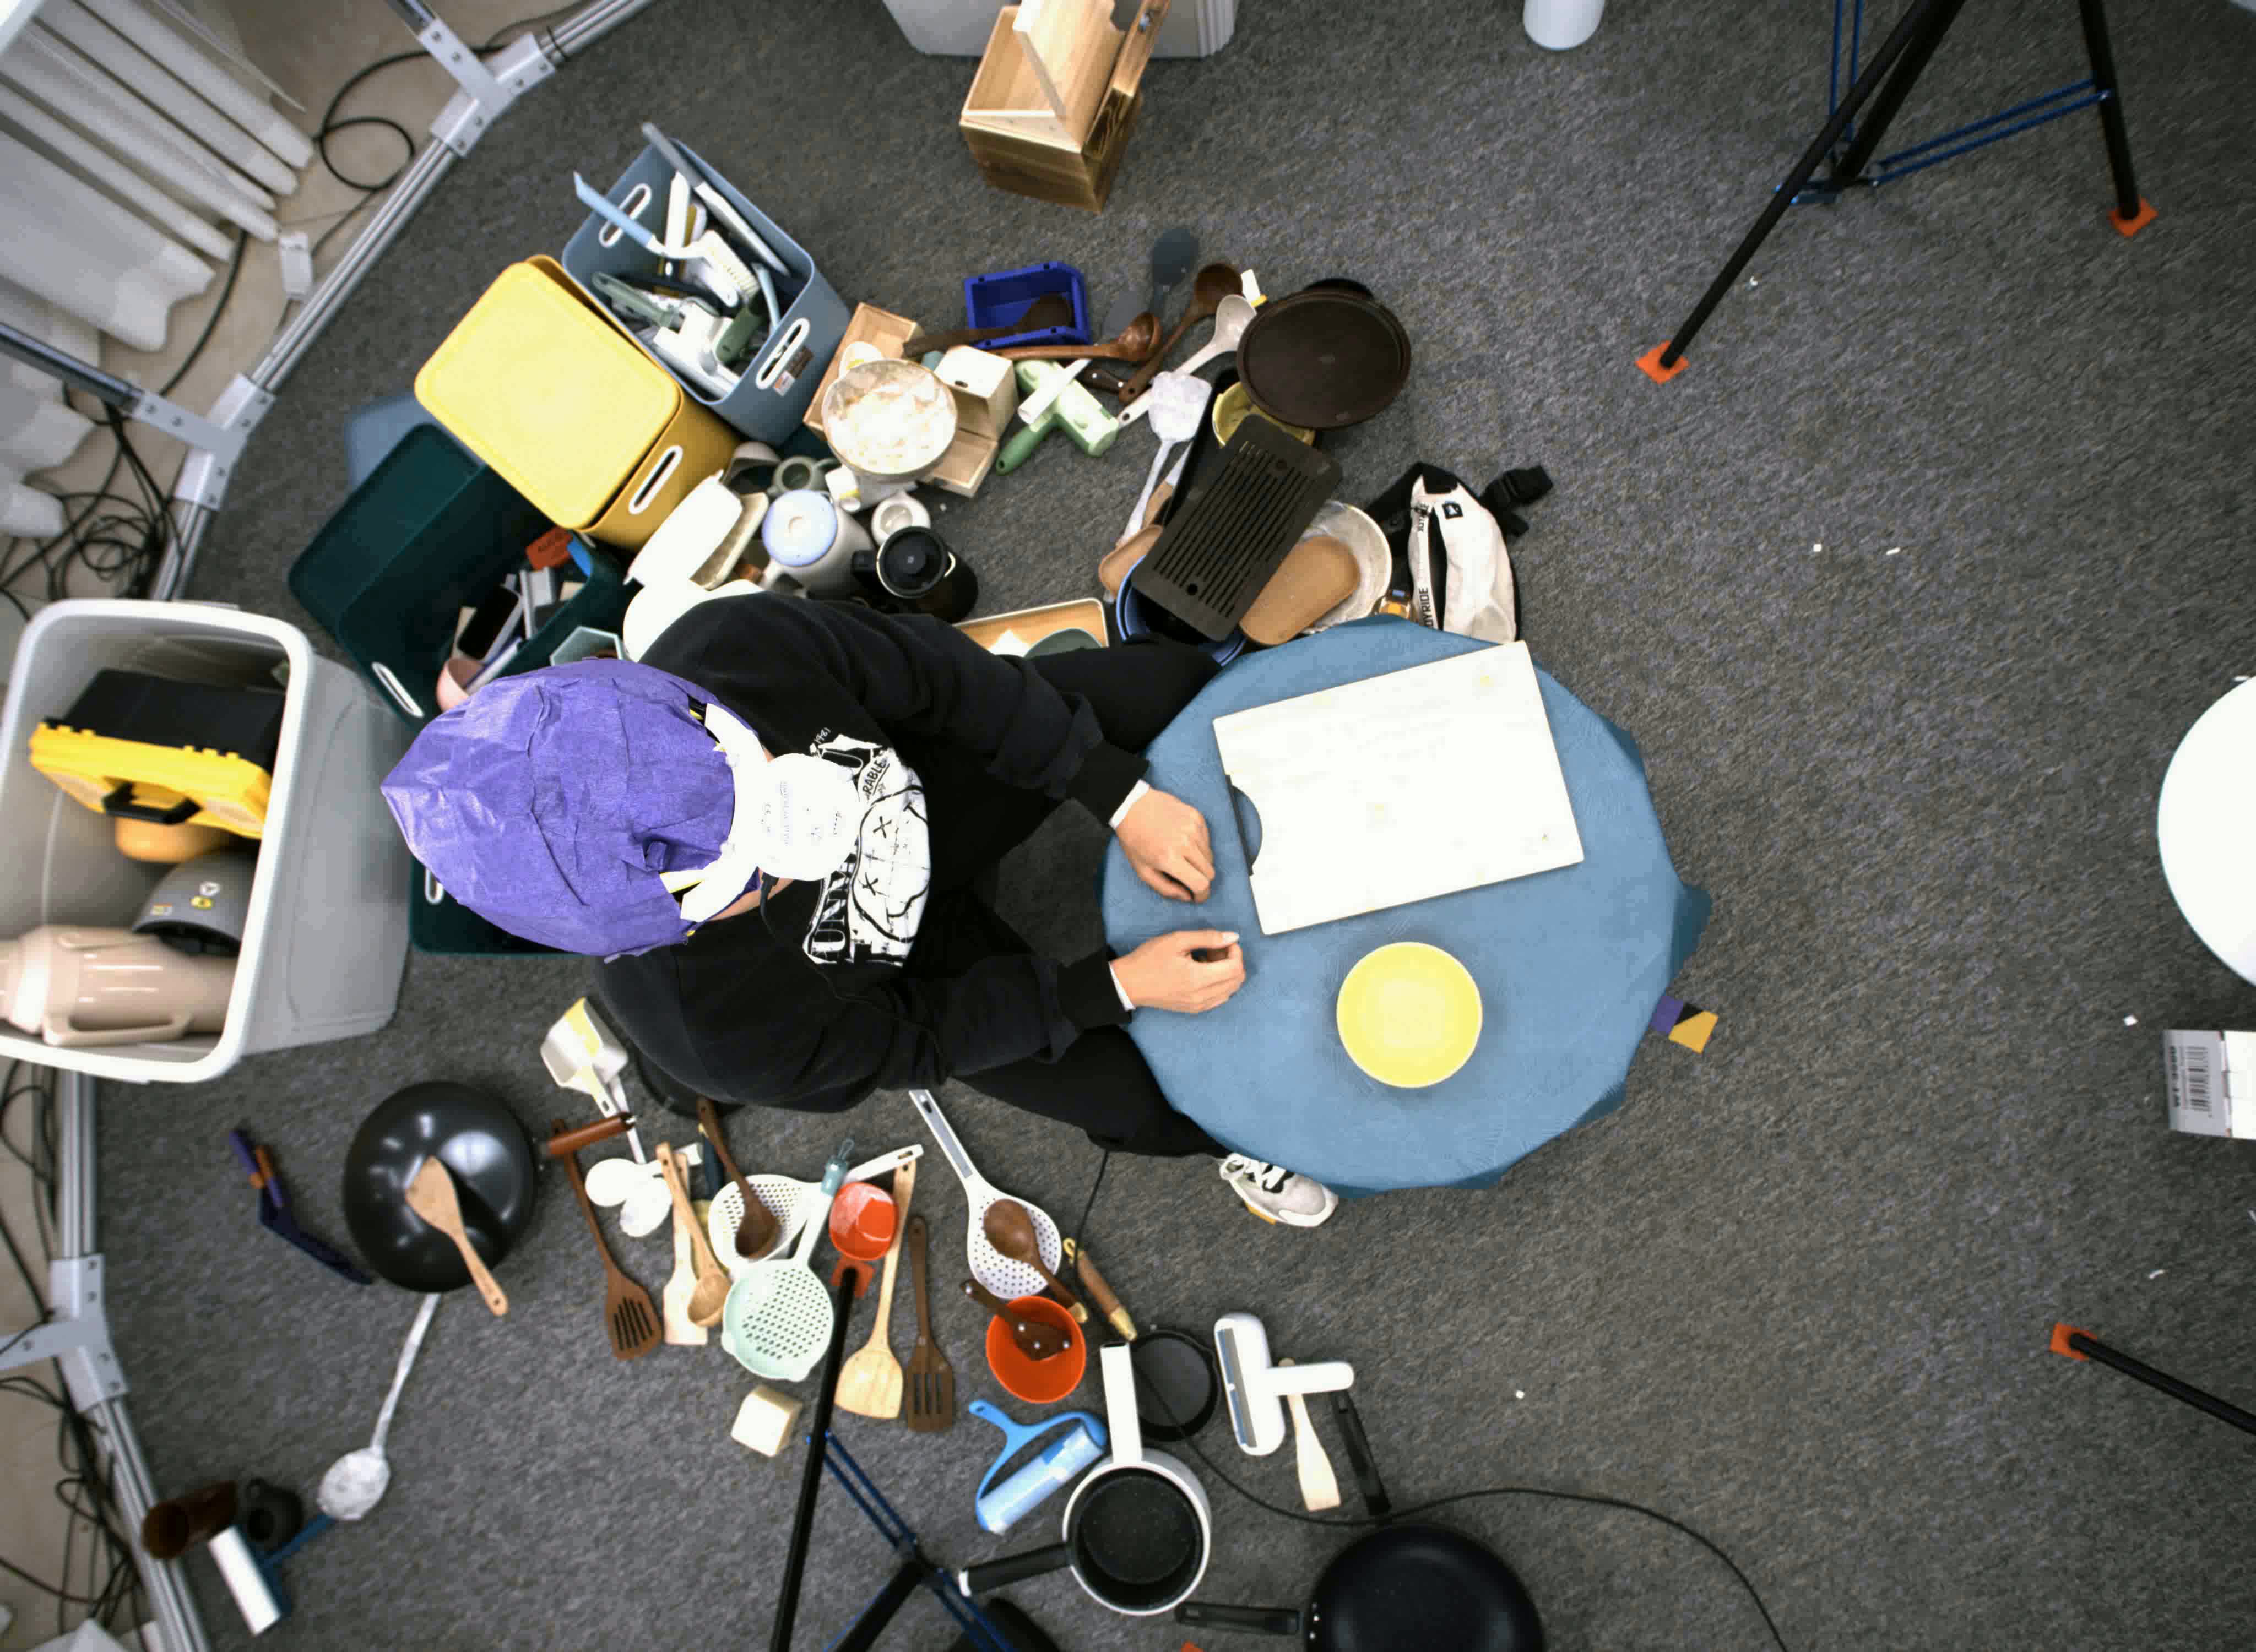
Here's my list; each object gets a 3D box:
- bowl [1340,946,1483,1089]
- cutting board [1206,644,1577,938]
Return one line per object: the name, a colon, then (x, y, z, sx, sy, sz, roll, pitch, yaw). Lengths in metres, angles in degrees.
bowl: (0.292, 0.196, 1.424, 0.146, 0.060, 0.144, -2, 83, 12)
cutting board: (0.278, -0.037, 1.463, 0.350, 0.023, 0.249, -15, 83, 9)
